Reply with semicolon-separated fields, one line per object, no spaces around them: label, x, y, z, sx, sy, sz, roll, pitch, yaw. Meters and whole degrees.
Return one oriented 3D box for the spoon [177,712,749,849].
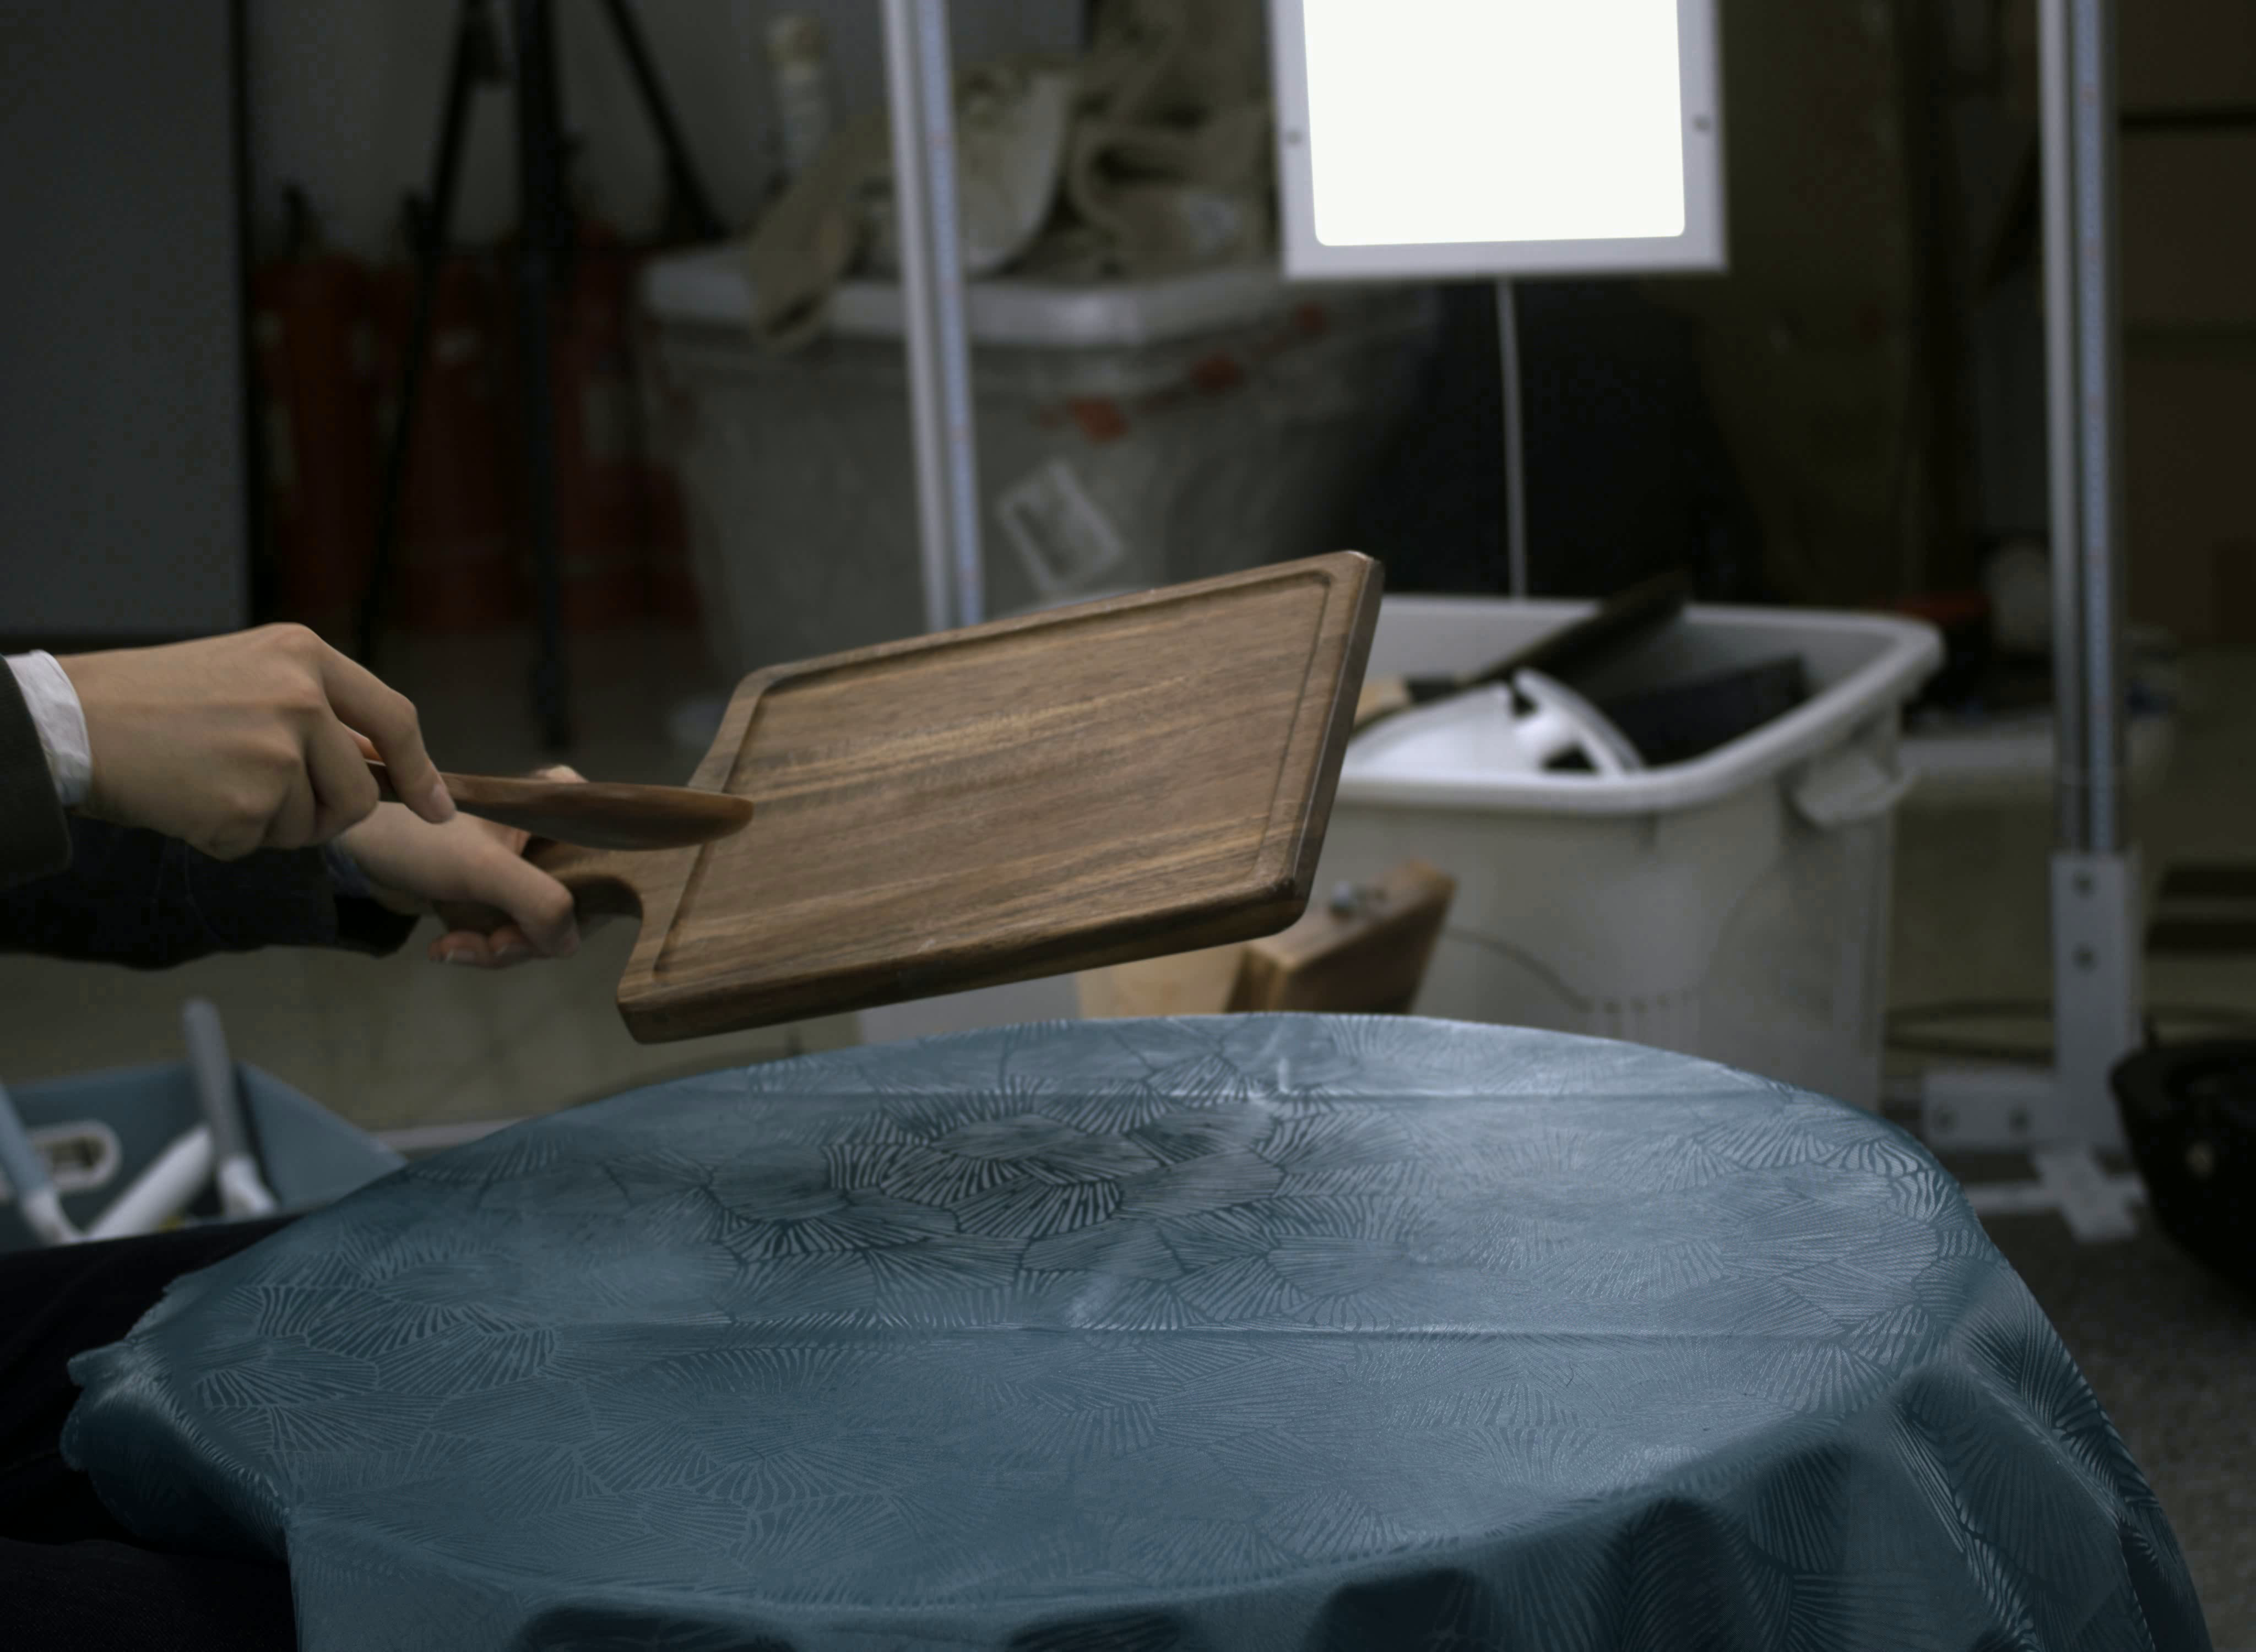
spoon;-0.213;-0.012;1.779;0.210;0.017;0.077;11;-9;-41

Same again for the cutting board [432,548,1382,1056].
cutting board;-0.087;-0.001;1.933;0.357;0.023;0.199;-11;36;23
